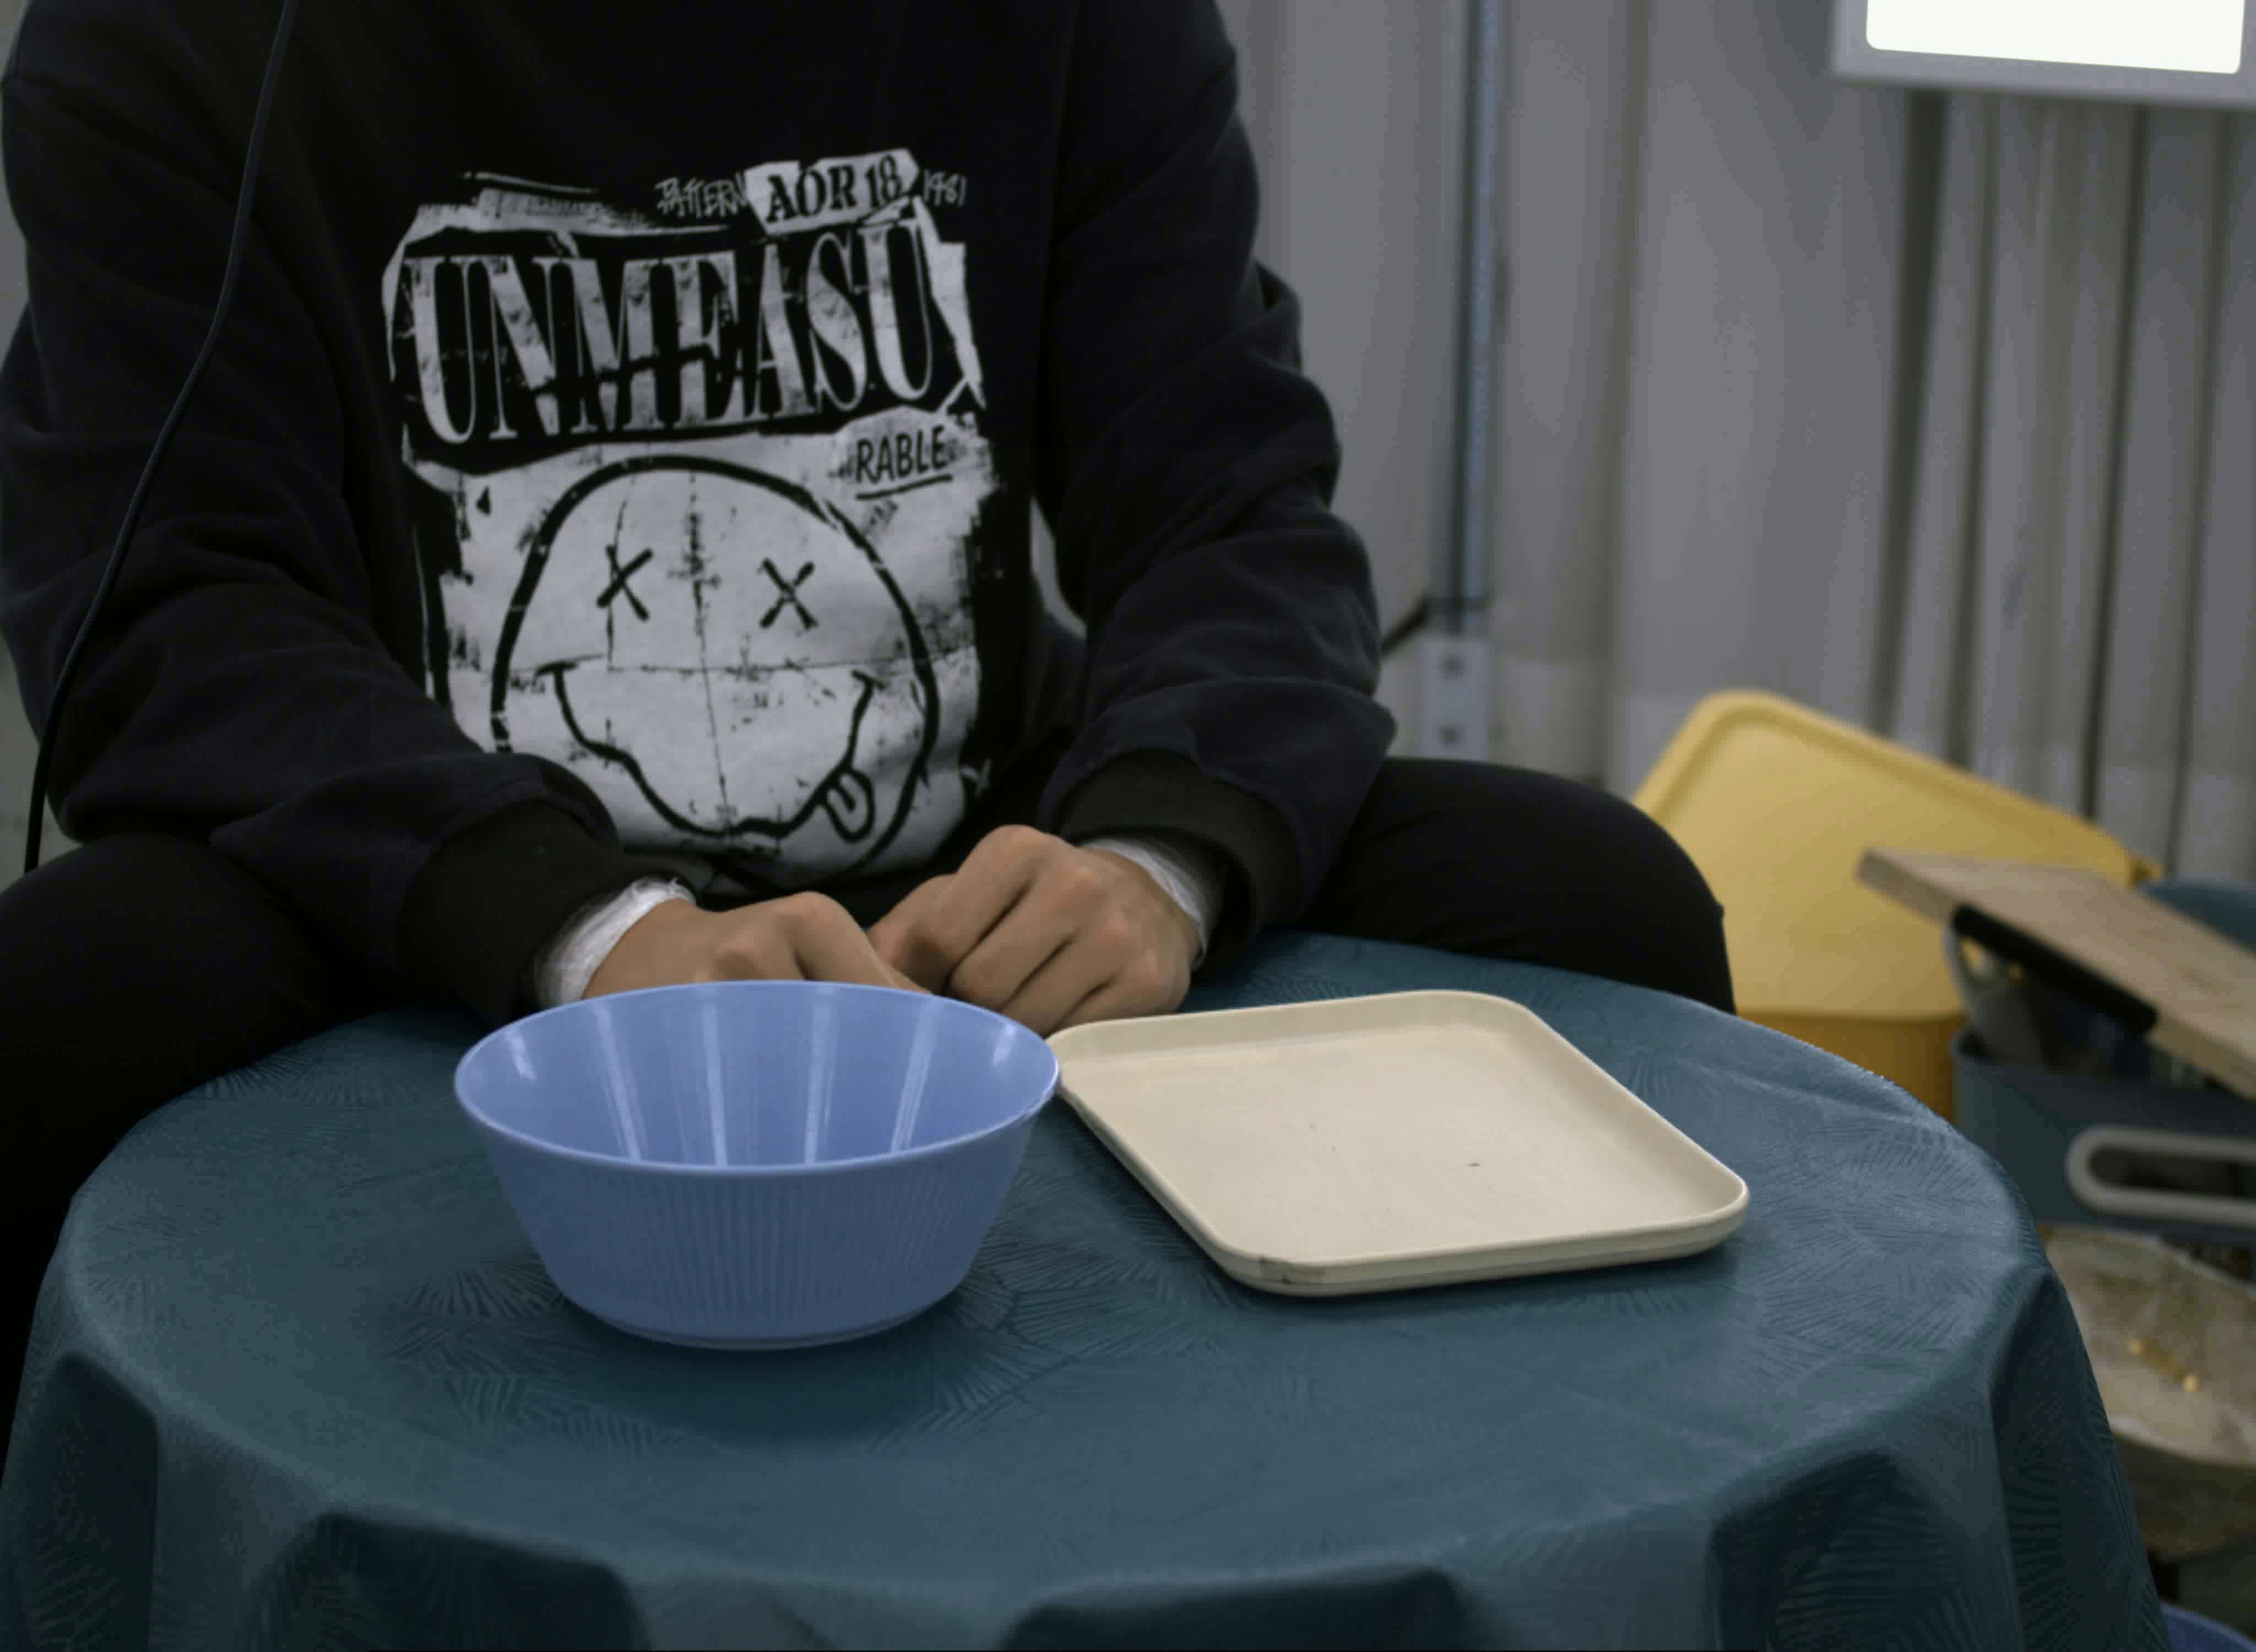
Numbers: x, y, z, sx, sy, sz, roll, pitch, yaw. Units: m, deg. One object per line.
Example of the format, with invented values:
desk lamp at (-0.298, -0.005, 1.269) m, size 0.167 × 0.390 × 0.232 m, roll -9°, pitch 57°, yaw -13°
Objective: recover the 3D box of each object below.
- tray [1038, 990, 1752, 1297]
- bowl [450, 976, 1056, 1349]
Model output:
tray at (0.079, 0.098, 1.649) m, size 0.171 × 0.017 × 0.237 m, roll -4°, pitch 16°, yaw -17°
bowl at (-0.108, 0.100, 1.534) m, size 0.175 × 0.071 × 0.175 m, roll 1°, pitch 17°, yaw 0°
